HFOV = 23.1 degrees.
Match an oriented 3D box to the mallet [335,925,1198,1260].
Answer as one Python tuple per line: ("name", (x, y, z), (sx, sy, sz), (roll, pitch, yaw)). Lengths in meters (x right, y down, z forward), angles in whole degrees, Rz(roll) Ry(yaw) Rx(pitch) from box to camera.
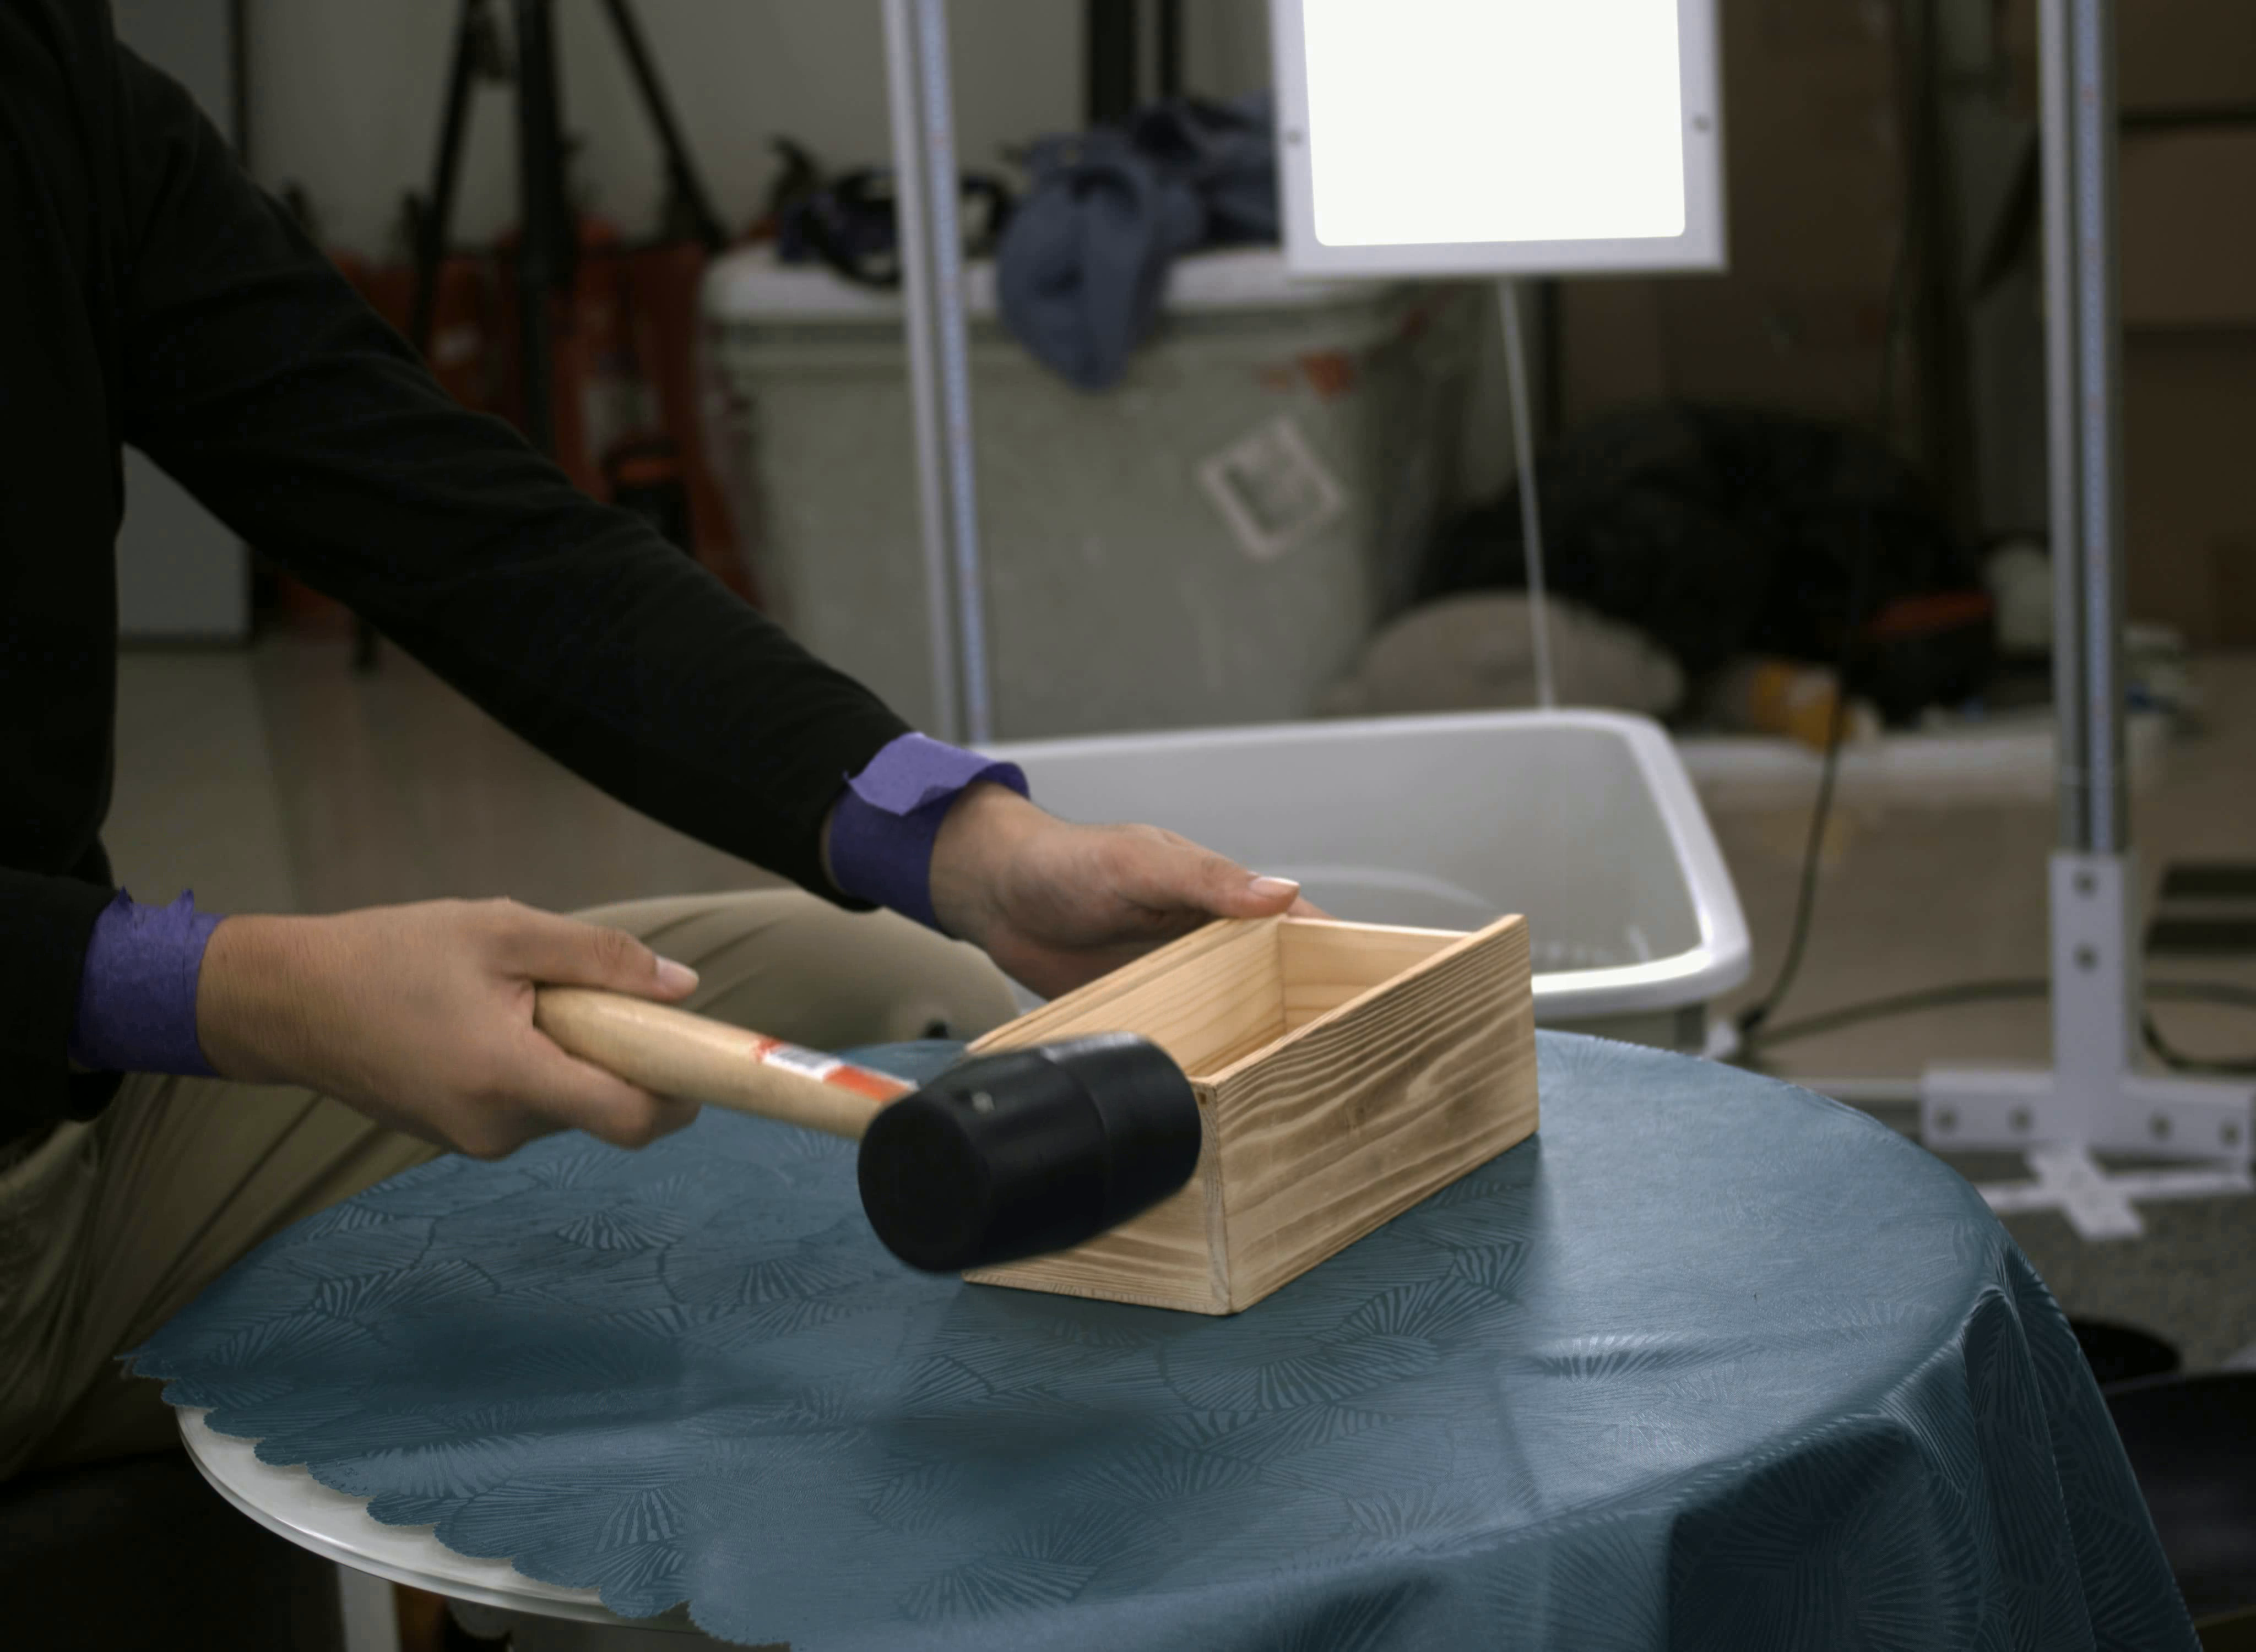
("mallet", (-0.132, 0.066, 1.751), (0.346, 0.064, 0.099), (16, 17, 42))

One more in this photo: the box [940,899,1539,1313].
("box", (0.041, 0.091, 1.862), (0.109, 0.080, 0.206), (4, 16, 33))
